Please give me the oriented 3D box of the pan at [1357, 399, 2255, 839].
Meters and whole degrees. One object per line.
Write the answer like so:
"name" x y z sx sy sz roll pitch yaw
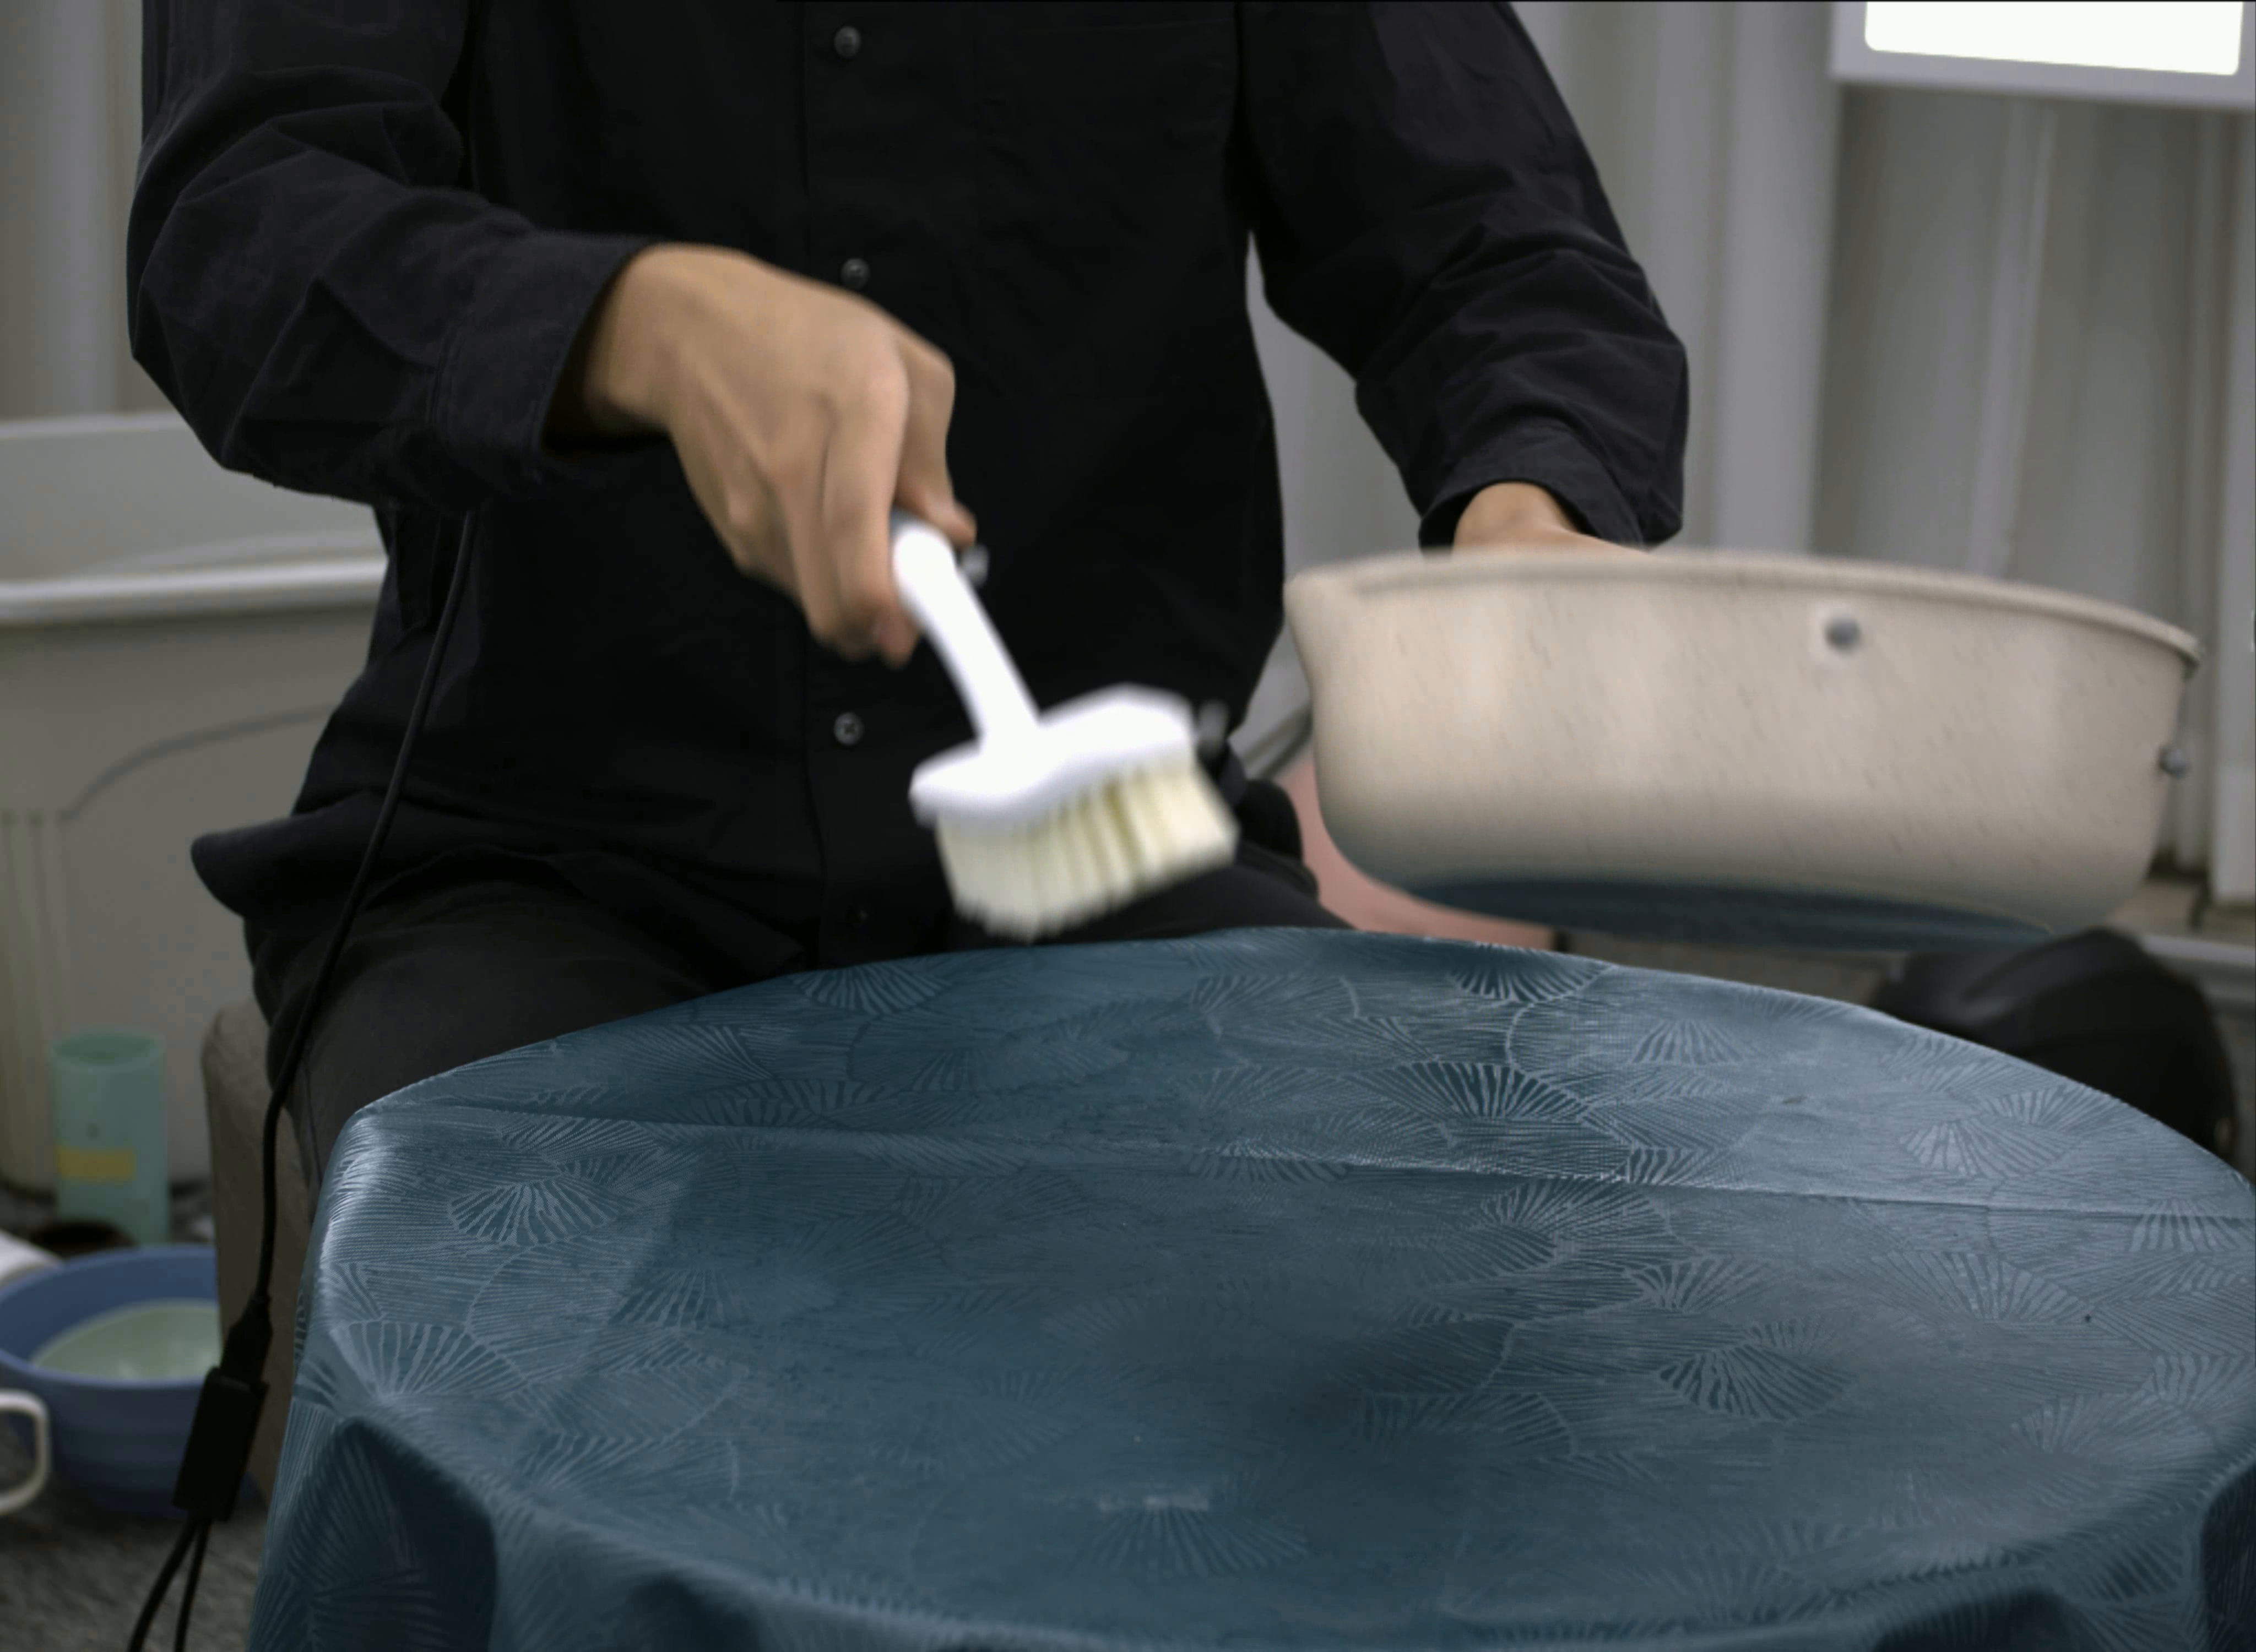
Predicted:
"pan" 0.179 -0.049 1.588 0.263 0.102 0.434 6 -7 -8

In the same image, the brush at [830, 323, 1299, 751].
"brush" -0.020 -0.074 1.514 0.083 0.085 0.322 15 9 -22
